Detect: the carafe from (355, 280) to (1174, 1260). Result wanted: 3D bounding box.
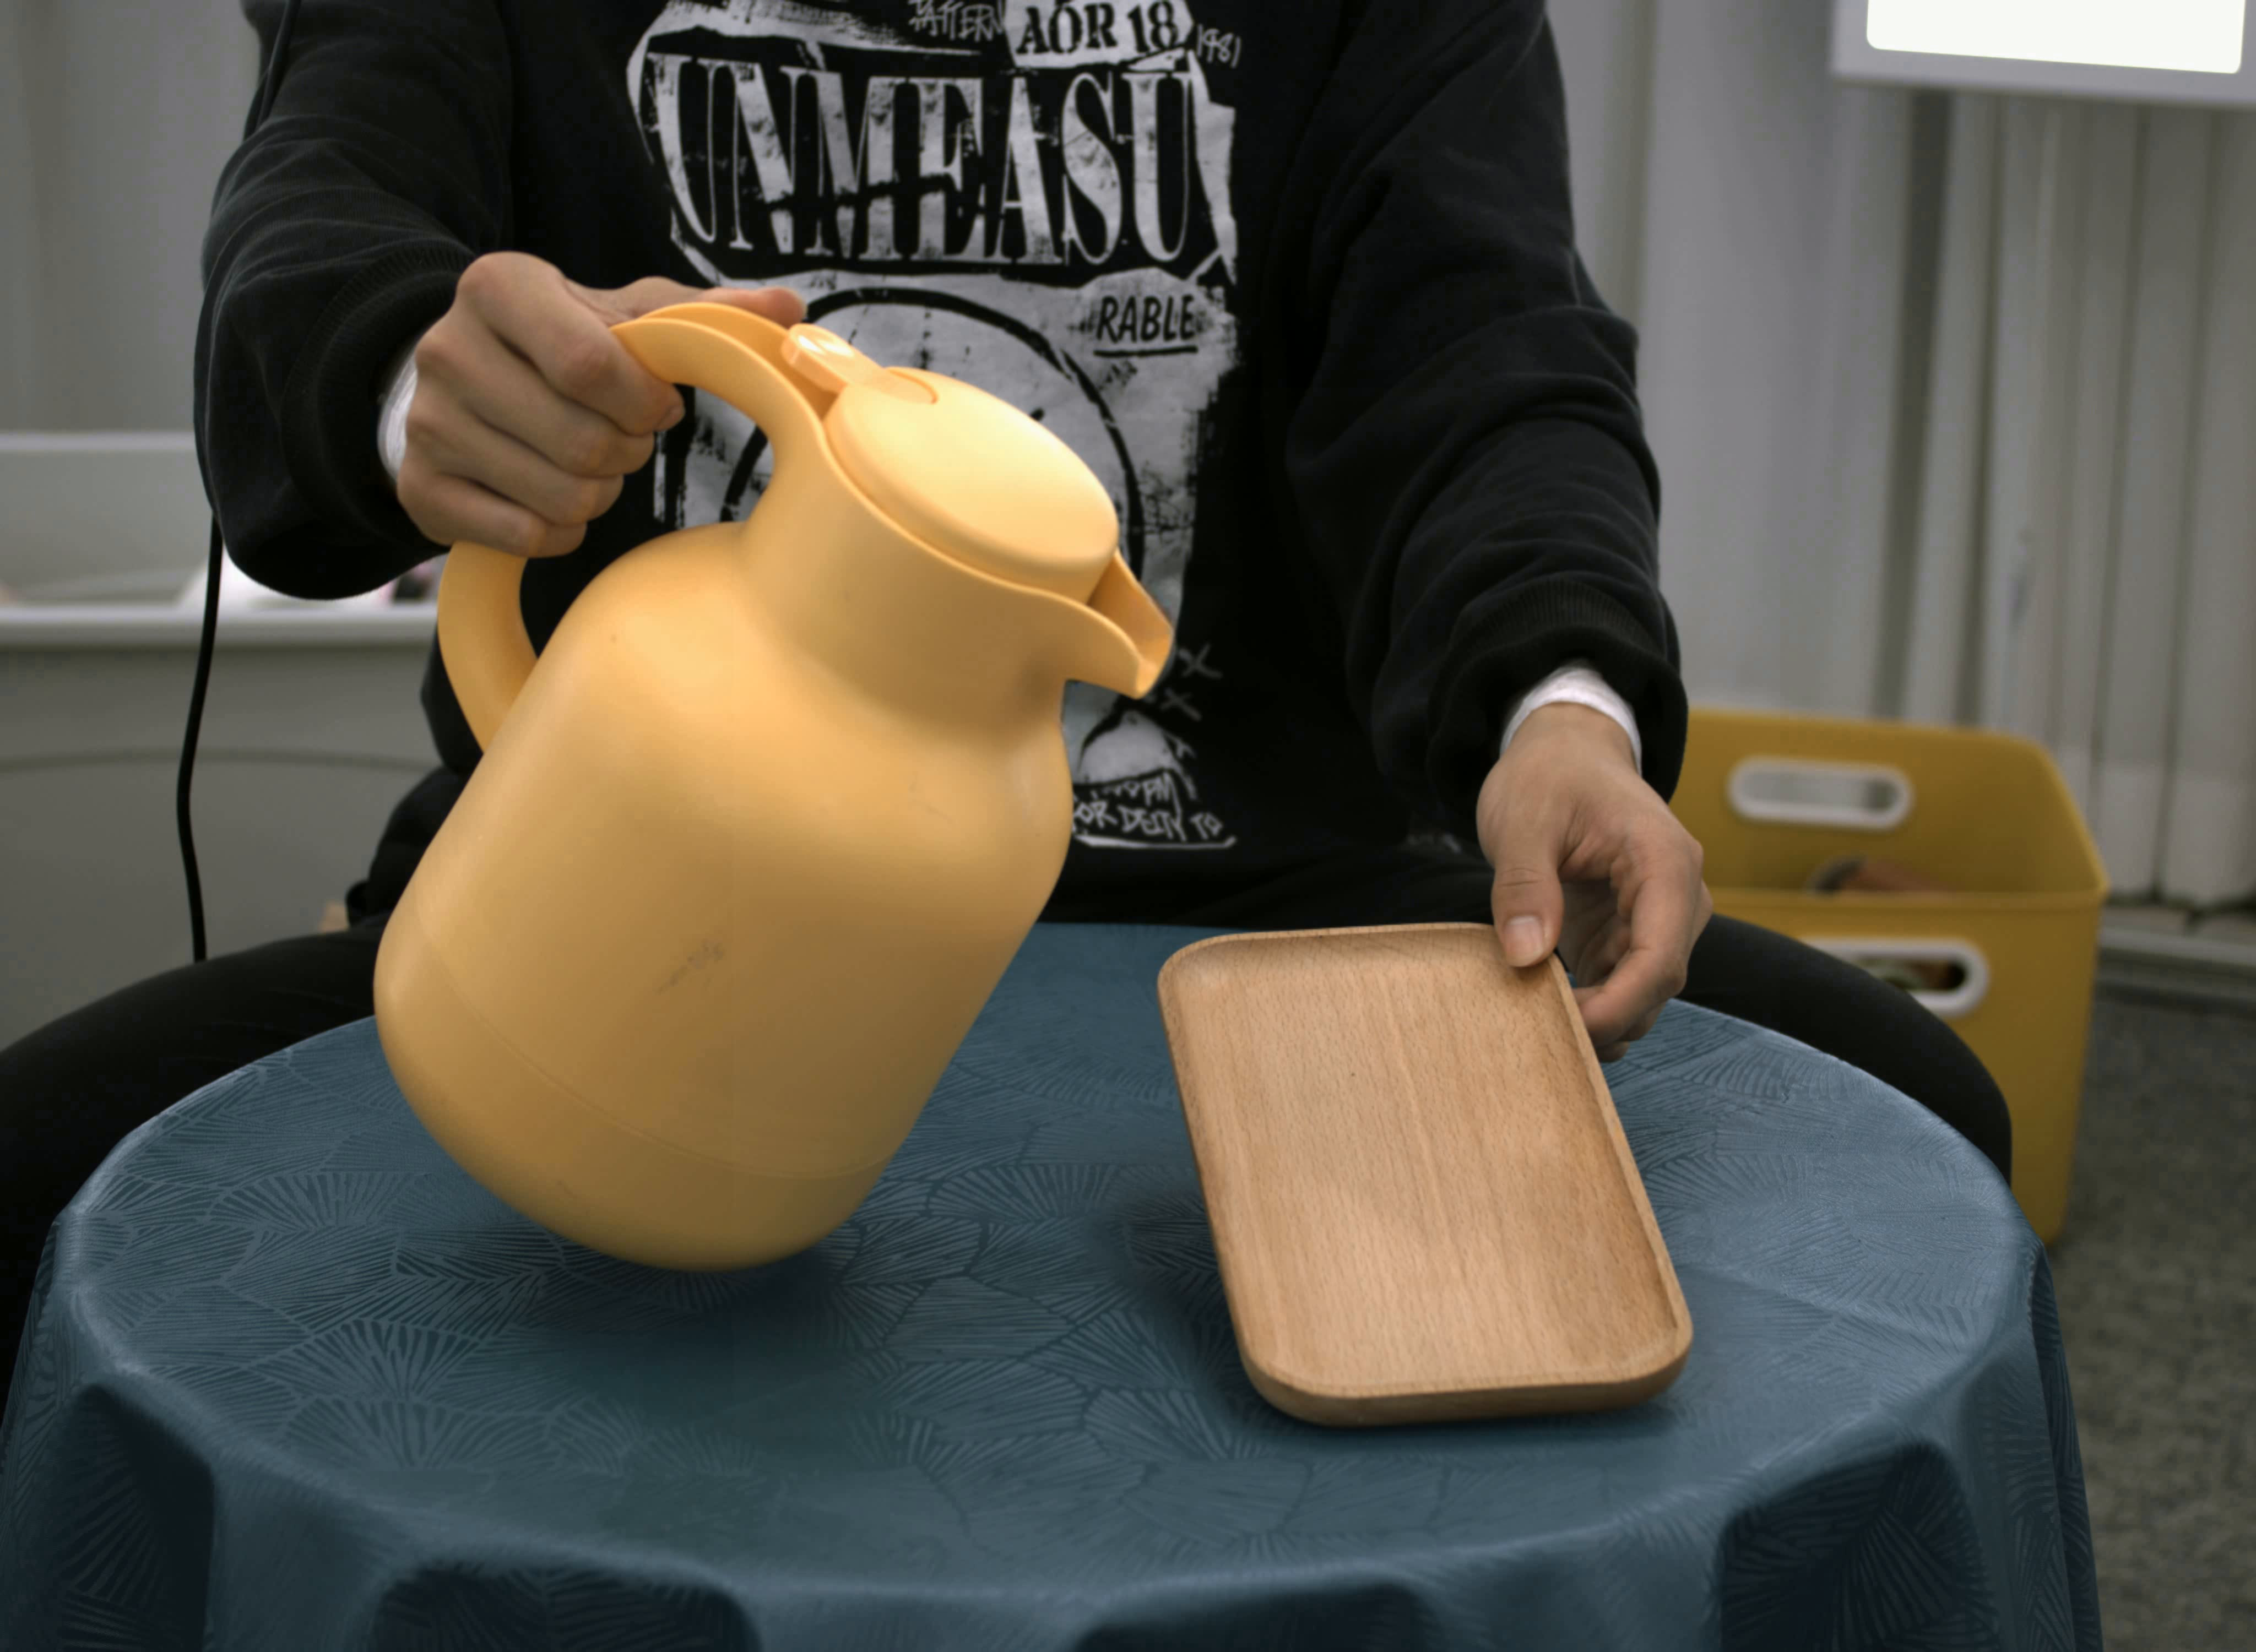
[{"bbox_3d":[-0.114,-0.024,1.501,0.201,0.261,0.164,41,26,12],"label":"carafe"}]

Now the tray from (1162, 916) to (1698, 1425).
[{"bbox_3d":[0.084,0.097,1.540,0.130,0.023,0.248,0,29,-7],"label":"tray"}]
